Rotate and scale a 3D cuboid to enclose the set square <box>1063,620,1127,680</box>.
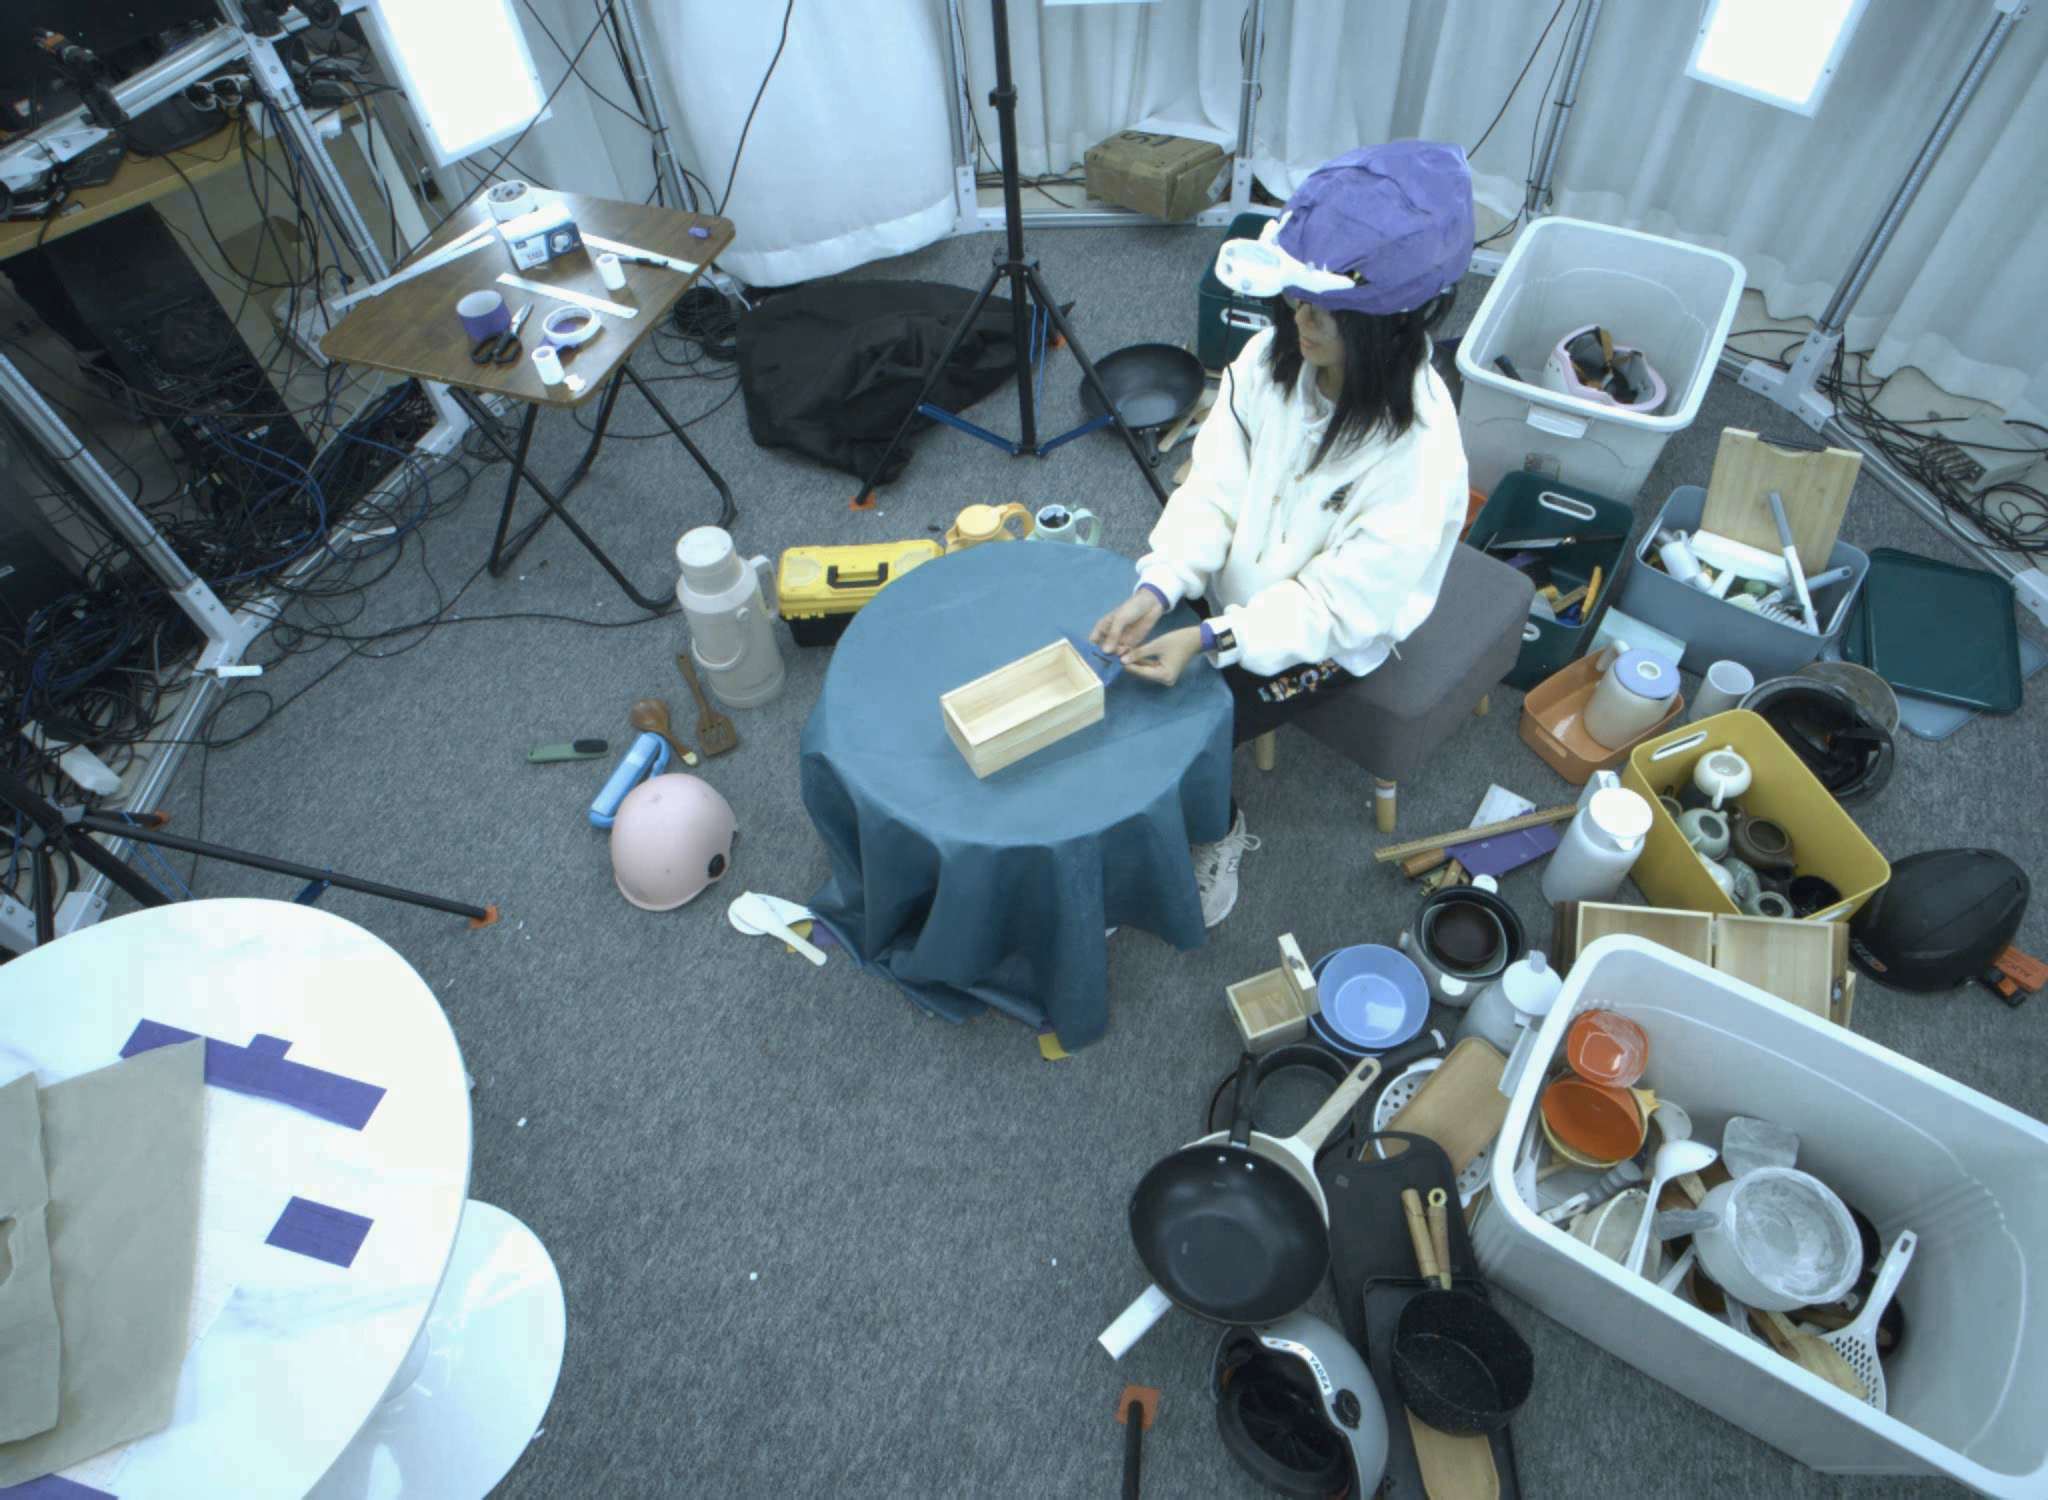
[{"bbox_3d":[0.108,-0.154,1.811,0.062,0.006,0.129,-15,52,-22],"label":"set square"}]

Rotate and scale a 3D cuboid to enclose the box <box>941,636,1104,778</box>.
[{"bbox_3d":[0.000,-0.063,1.783,0.213,0.081,0.105,-27,59,-16],"label":"box"}]
